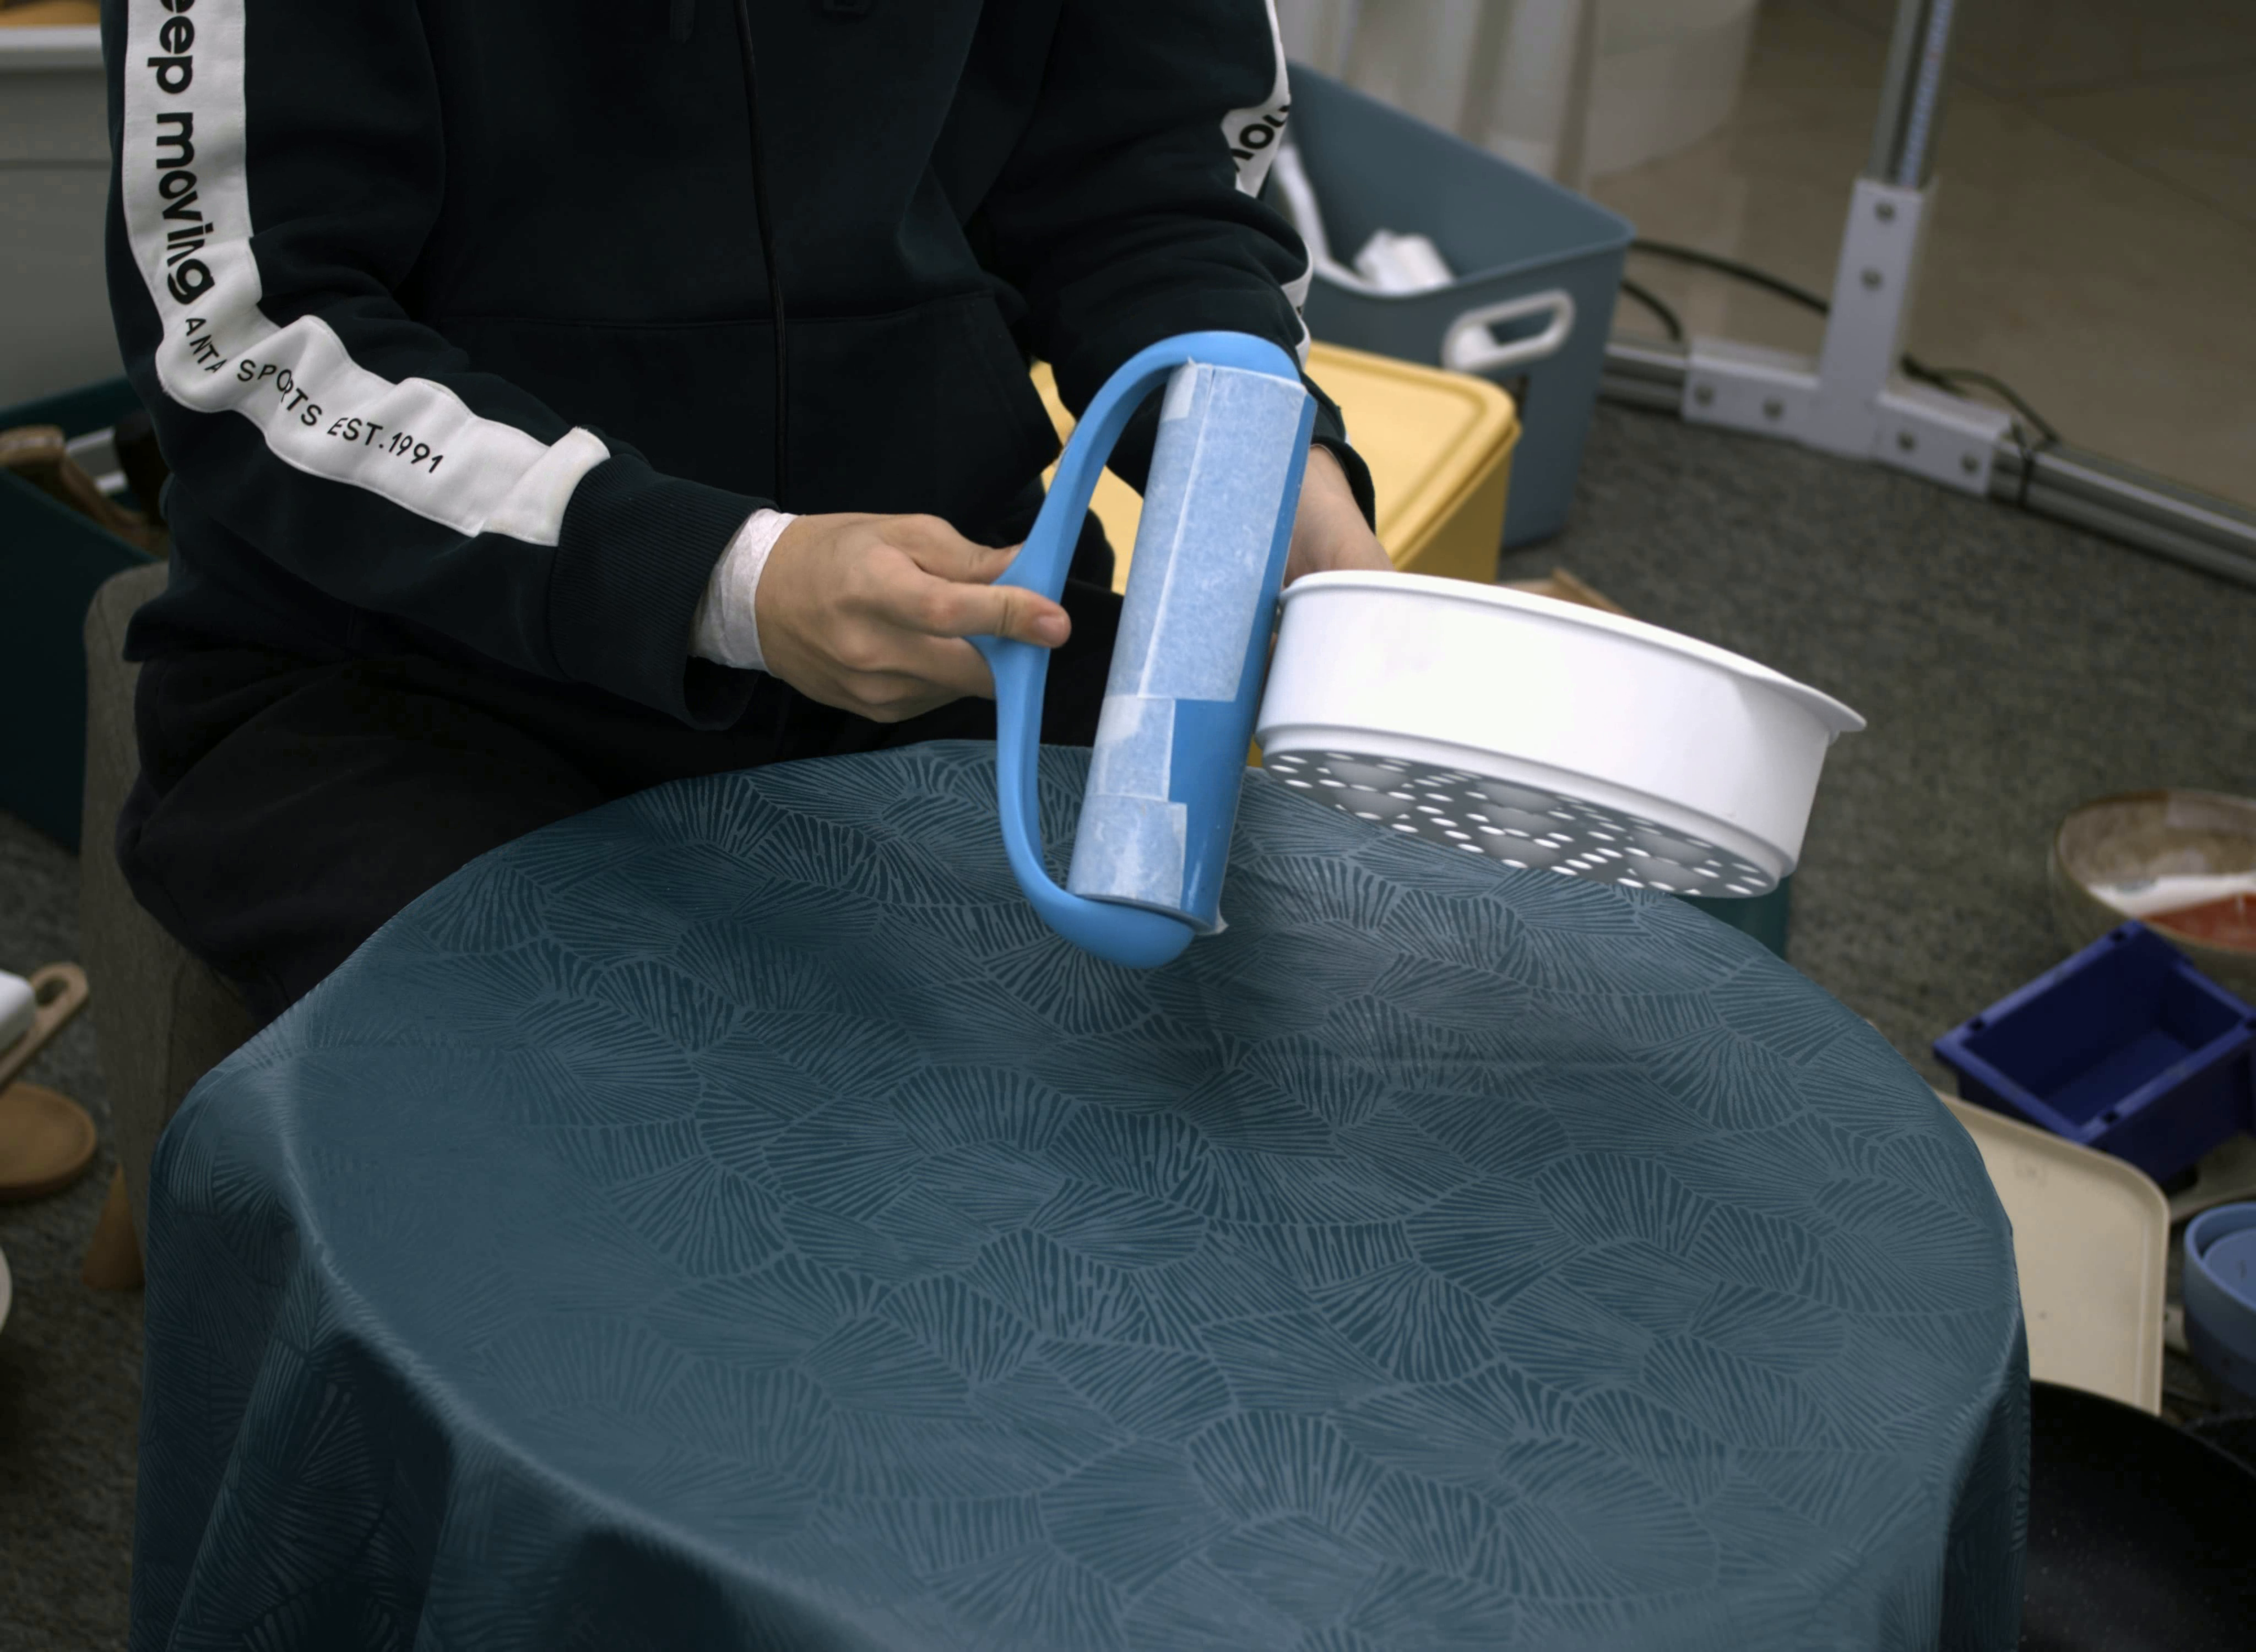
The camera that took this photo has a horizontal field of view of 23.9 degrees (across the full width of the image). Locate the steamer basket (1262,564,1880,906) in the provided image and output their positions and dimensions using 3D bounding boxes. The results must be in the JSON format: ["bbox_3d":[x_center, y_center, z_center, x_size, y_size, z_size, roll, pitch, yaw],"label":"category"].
[{"bbox_3d":[0.145,-0.027,1.845,0.232,0.069,0.200,7,-12,36],"label":"steamer basket"}]

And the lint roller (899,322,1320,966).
[{"bbox_3d":[-0.024,-0.064,1.886,0.181,0.230,0.067,-1,-14,34],"label":"lint roller"}]
